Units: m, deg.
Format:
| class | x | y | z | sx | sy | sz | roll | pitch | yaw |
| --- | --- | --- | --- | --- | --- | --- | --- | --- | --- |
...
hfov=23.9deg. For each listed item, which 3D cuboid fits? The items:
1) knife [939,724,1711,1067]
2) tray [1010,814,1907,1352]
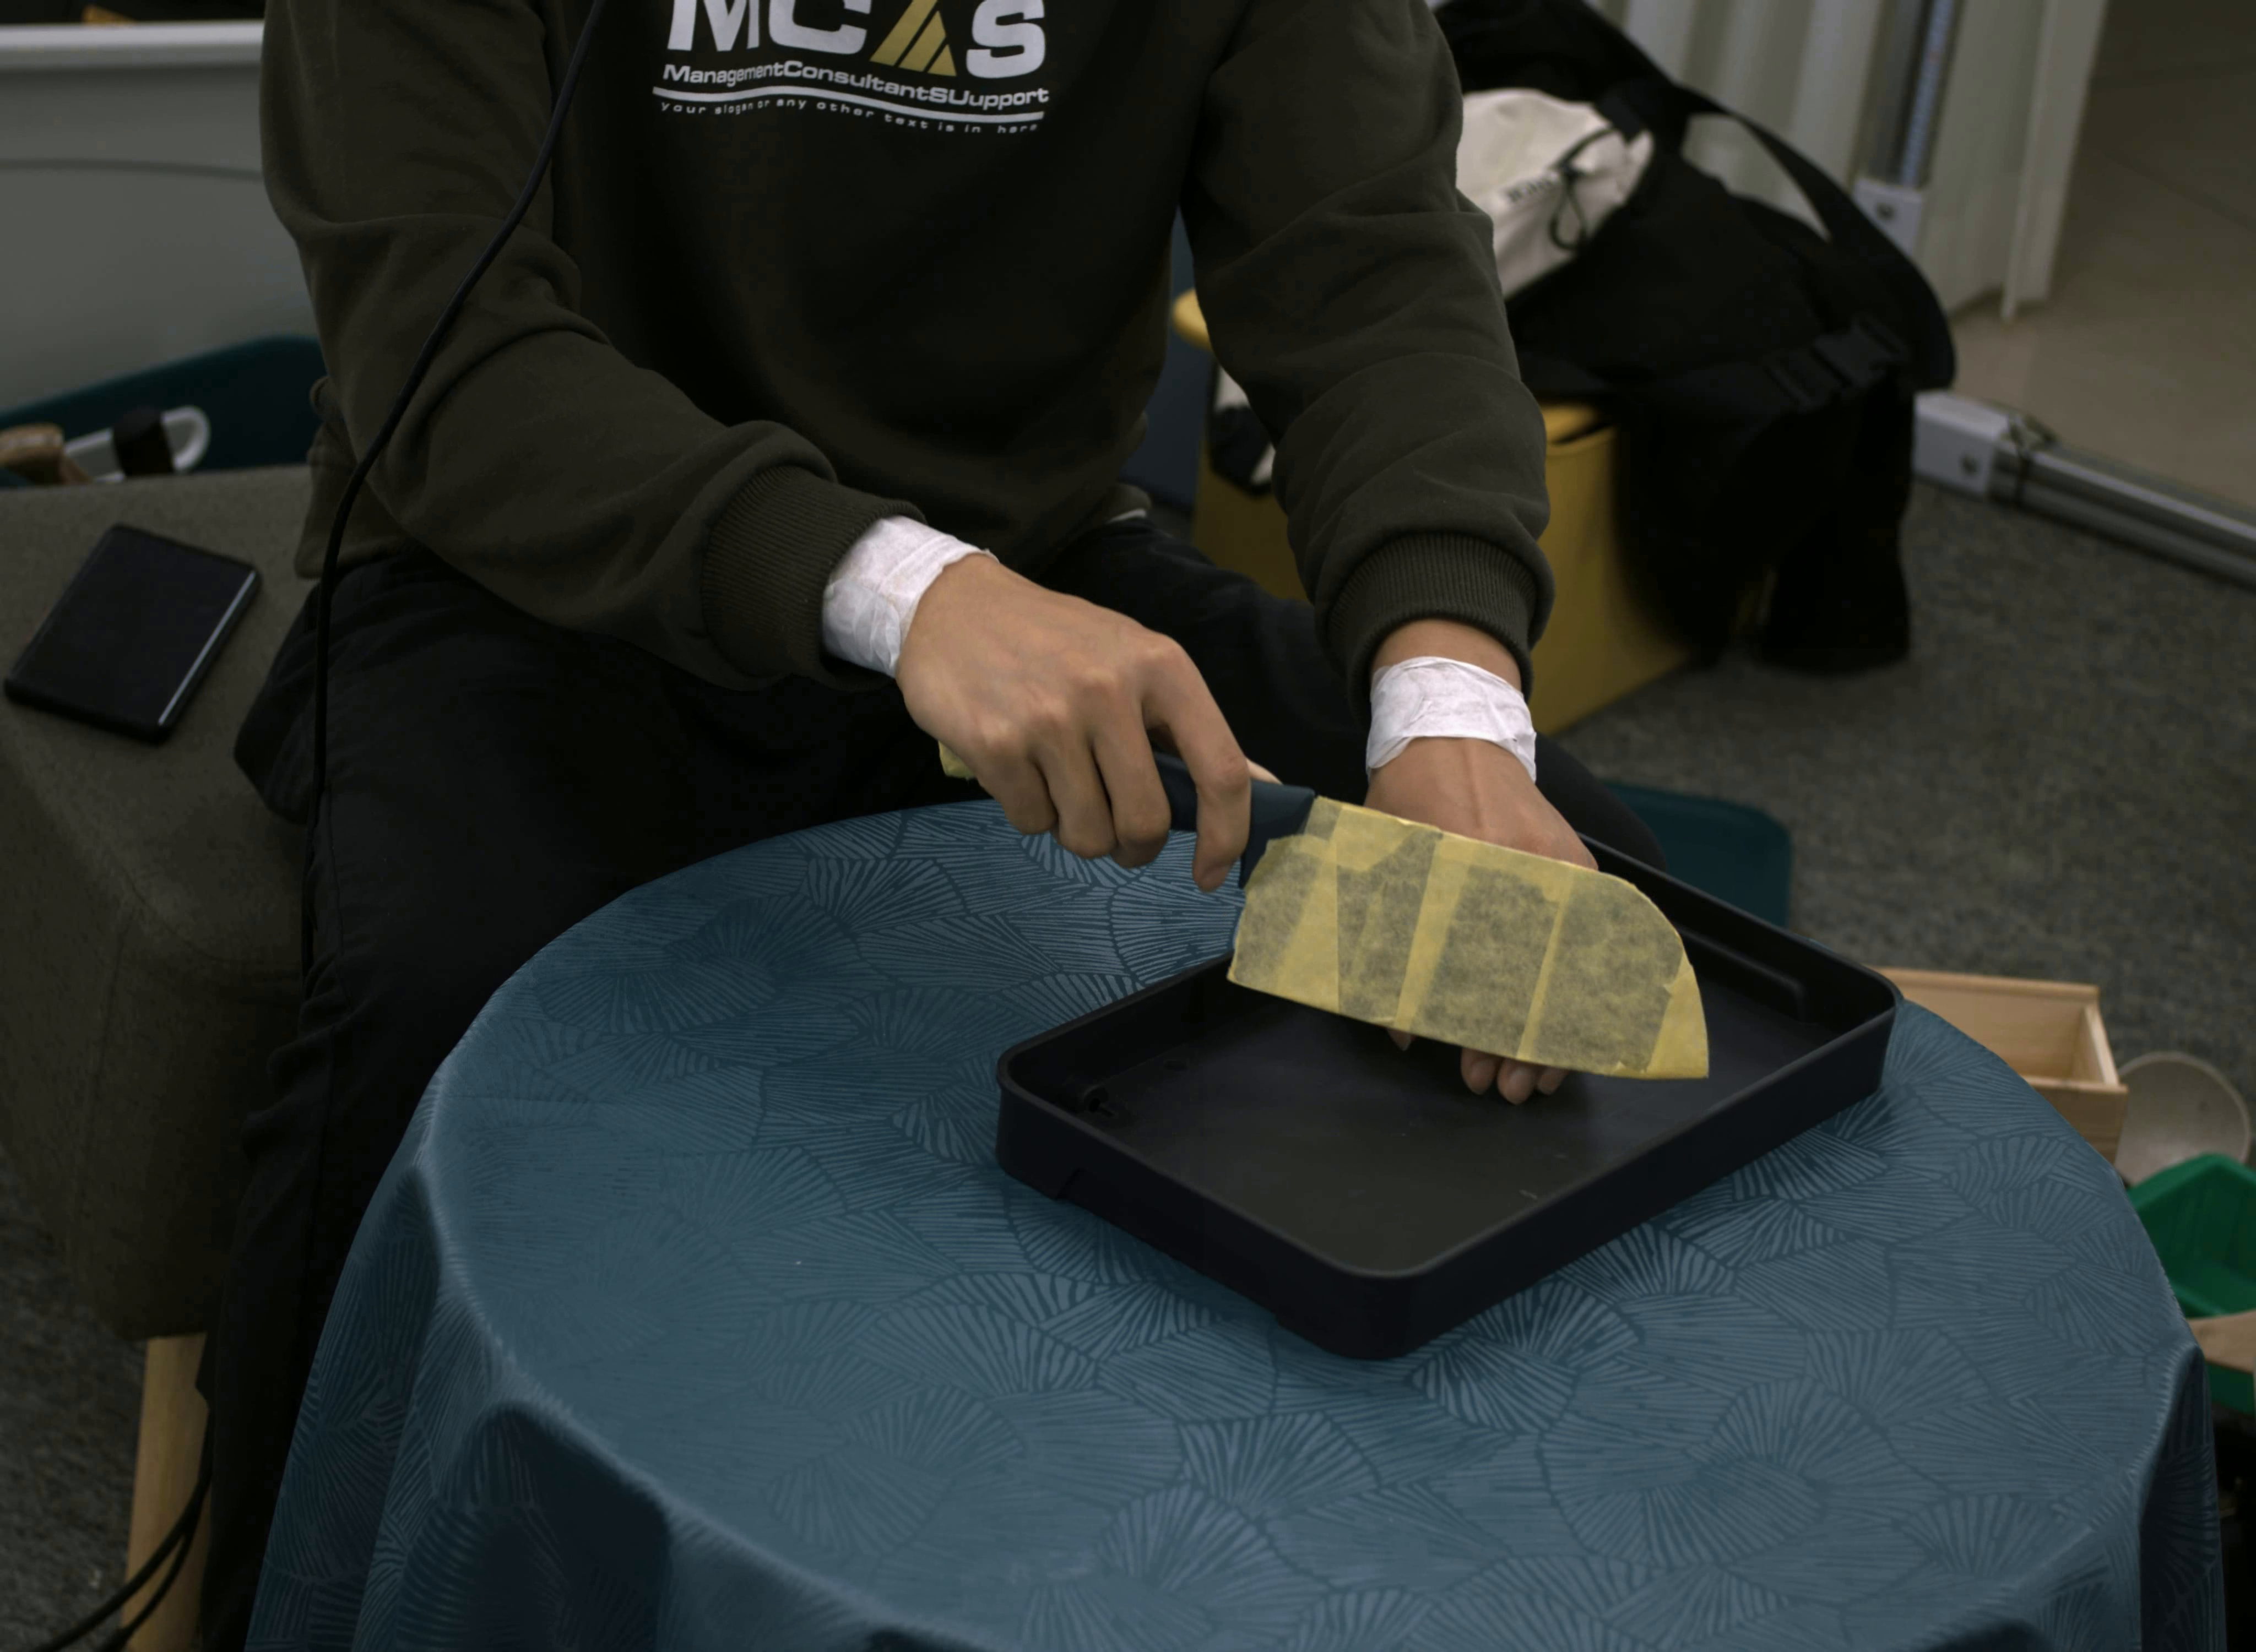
| class | x | y | z | sx | sy | sz | roll | pitch | yaw |
| --- | --- | --- | --- | --- | --- | --- | --- | --- | --- |
| knife | 0.067 | 0.024 | 1.871 | 0.289 | 0.081 | 0.027 | 18 | 5 | 6 |
| tray | 0.119 | 0.083 | 1.870 | 0.185 | 0.037 | 0.316 | 25 | 32 | 33 |
